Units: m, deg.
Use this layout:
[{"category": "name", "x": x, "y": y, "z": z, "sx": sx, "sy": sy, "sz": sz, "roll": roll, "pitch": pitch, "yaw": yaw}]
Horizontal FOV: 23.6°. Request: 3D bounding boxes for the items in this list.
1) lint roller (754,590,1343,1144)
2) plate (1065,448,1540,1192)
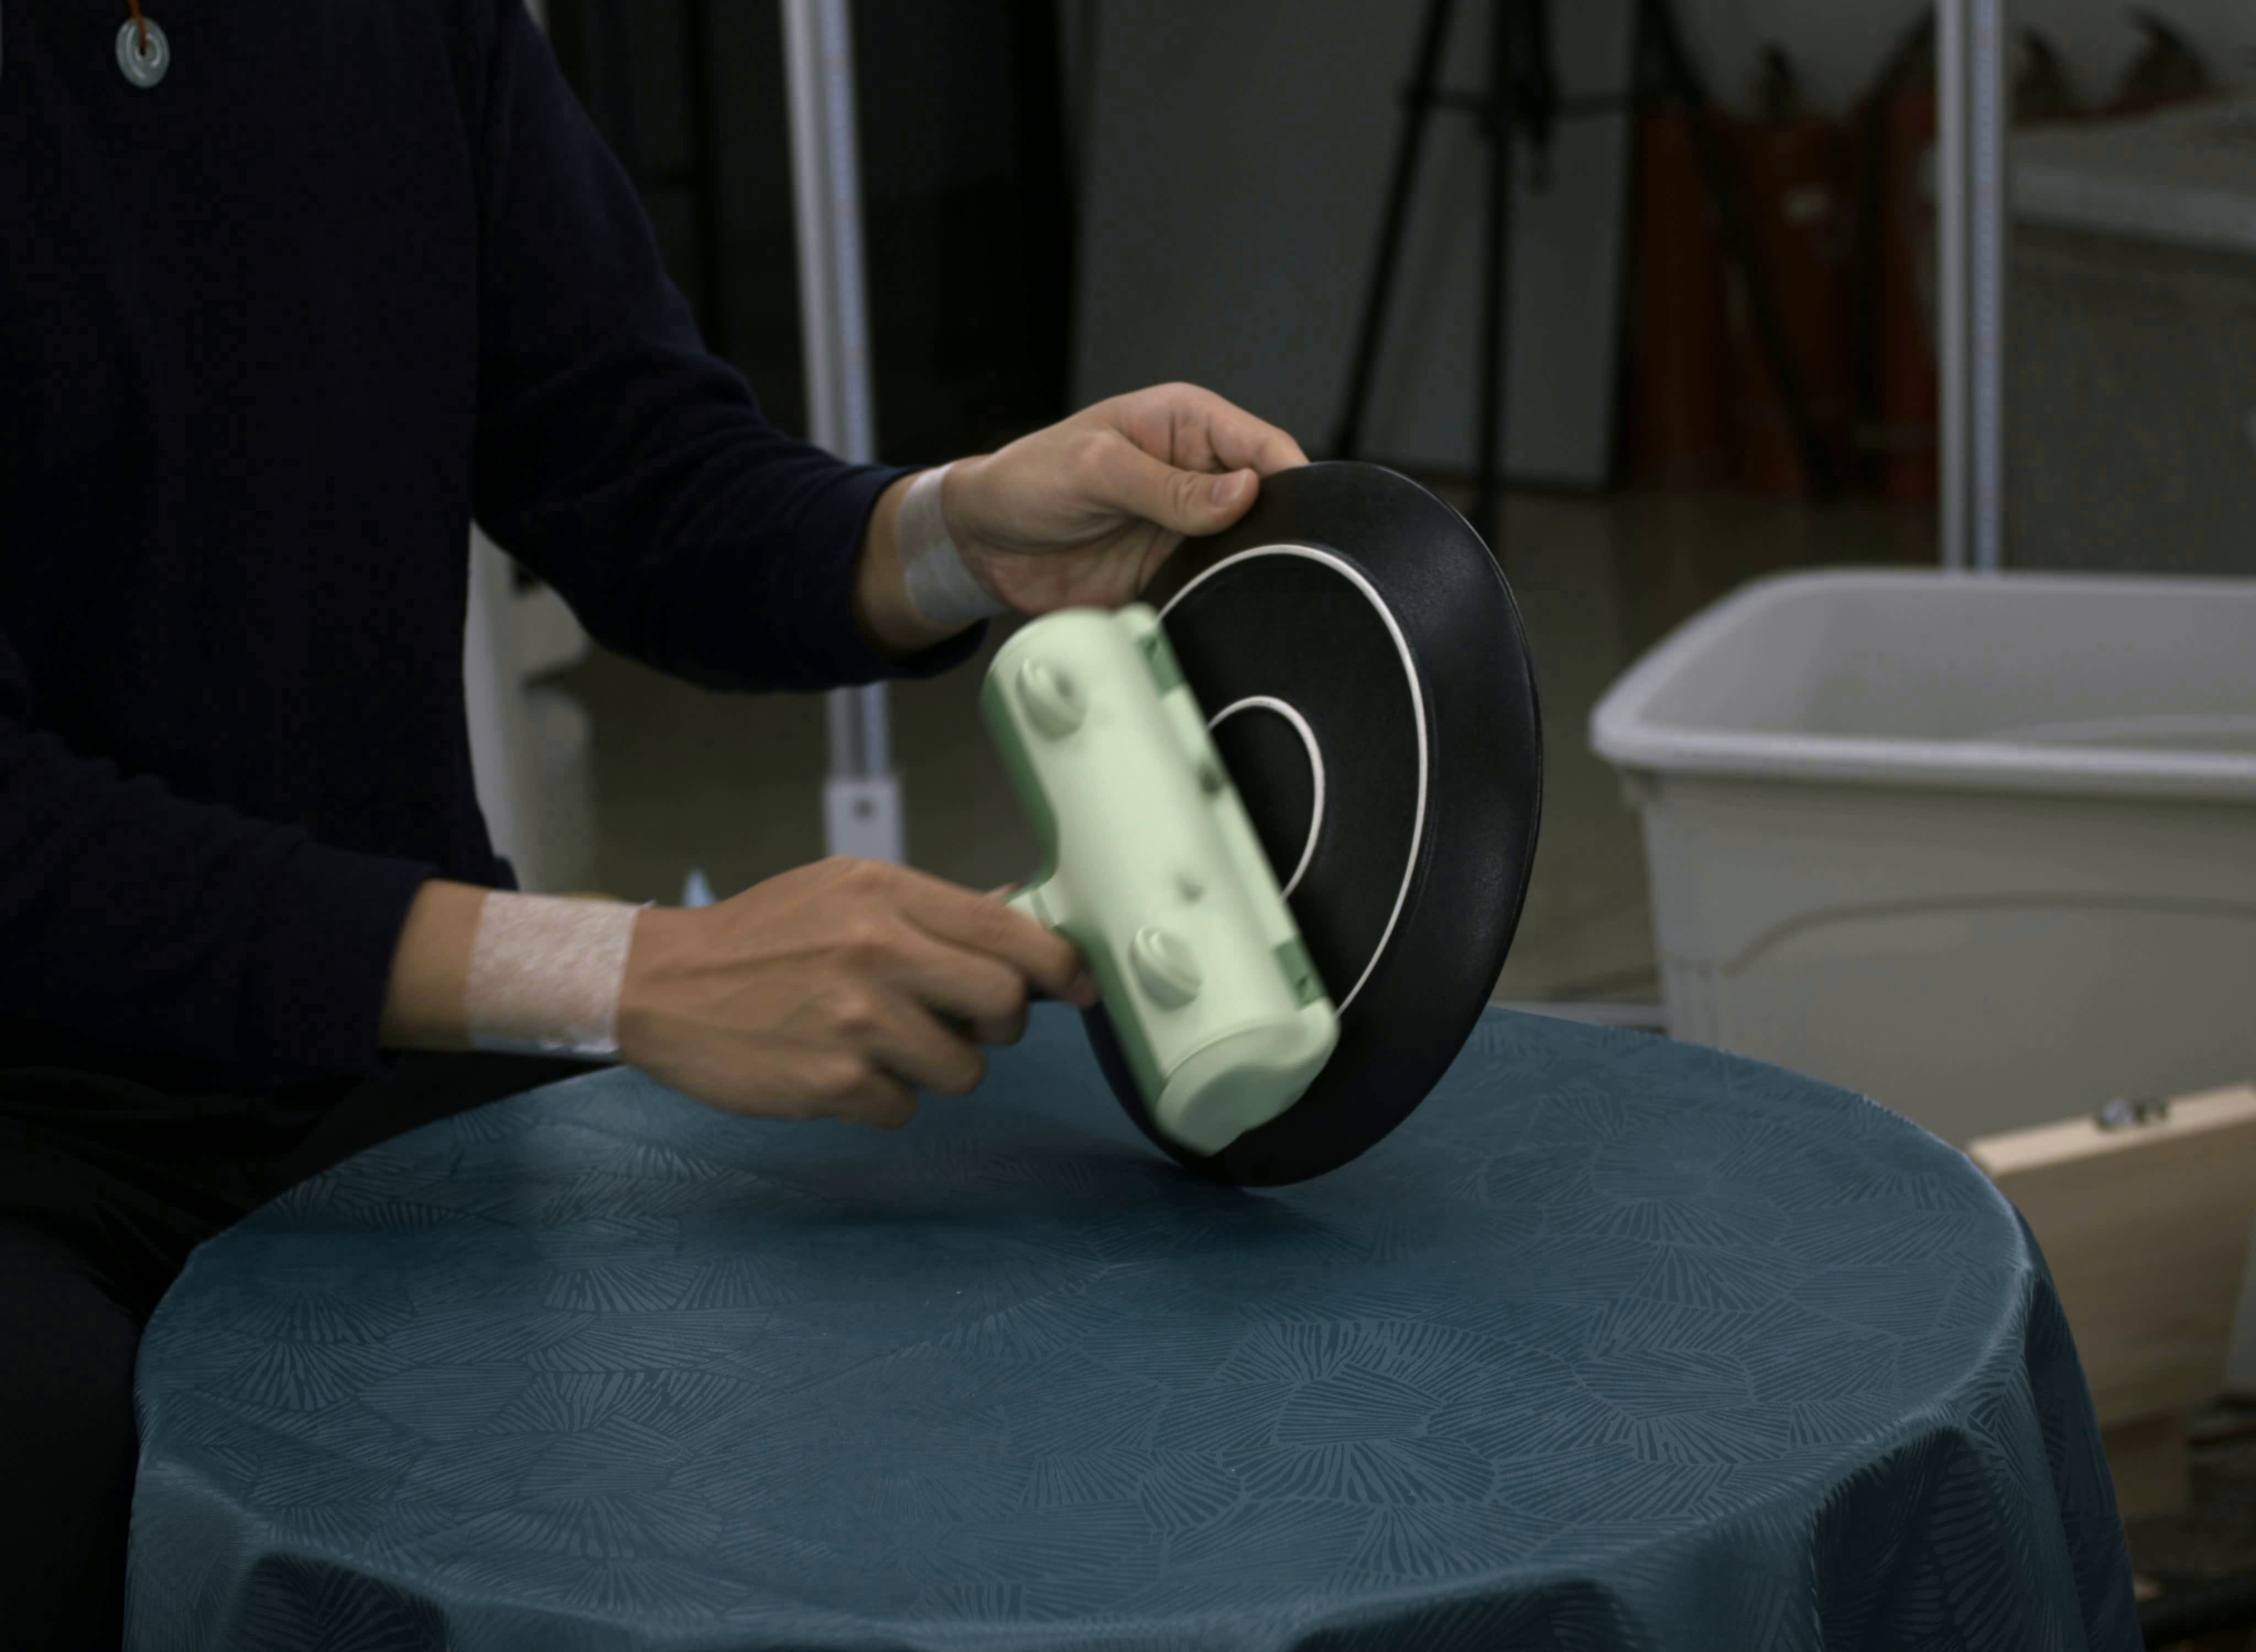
[{"category": "lint roller", "x": -0.045, "y": 0.028, "z": 1.748, "sx": 0.181, "sy": 0.082, "sz": 0.201, "roll": -23, "pitch": 54, "yaw": -1}, {"category": "plate", "x": 0.046, "y": -0.004, "z": 1.767, "sx": 0.023, "sy": 0.247, "sz": 0.247, "roll": 11, "pitch": 2, "yaw": -36}]
